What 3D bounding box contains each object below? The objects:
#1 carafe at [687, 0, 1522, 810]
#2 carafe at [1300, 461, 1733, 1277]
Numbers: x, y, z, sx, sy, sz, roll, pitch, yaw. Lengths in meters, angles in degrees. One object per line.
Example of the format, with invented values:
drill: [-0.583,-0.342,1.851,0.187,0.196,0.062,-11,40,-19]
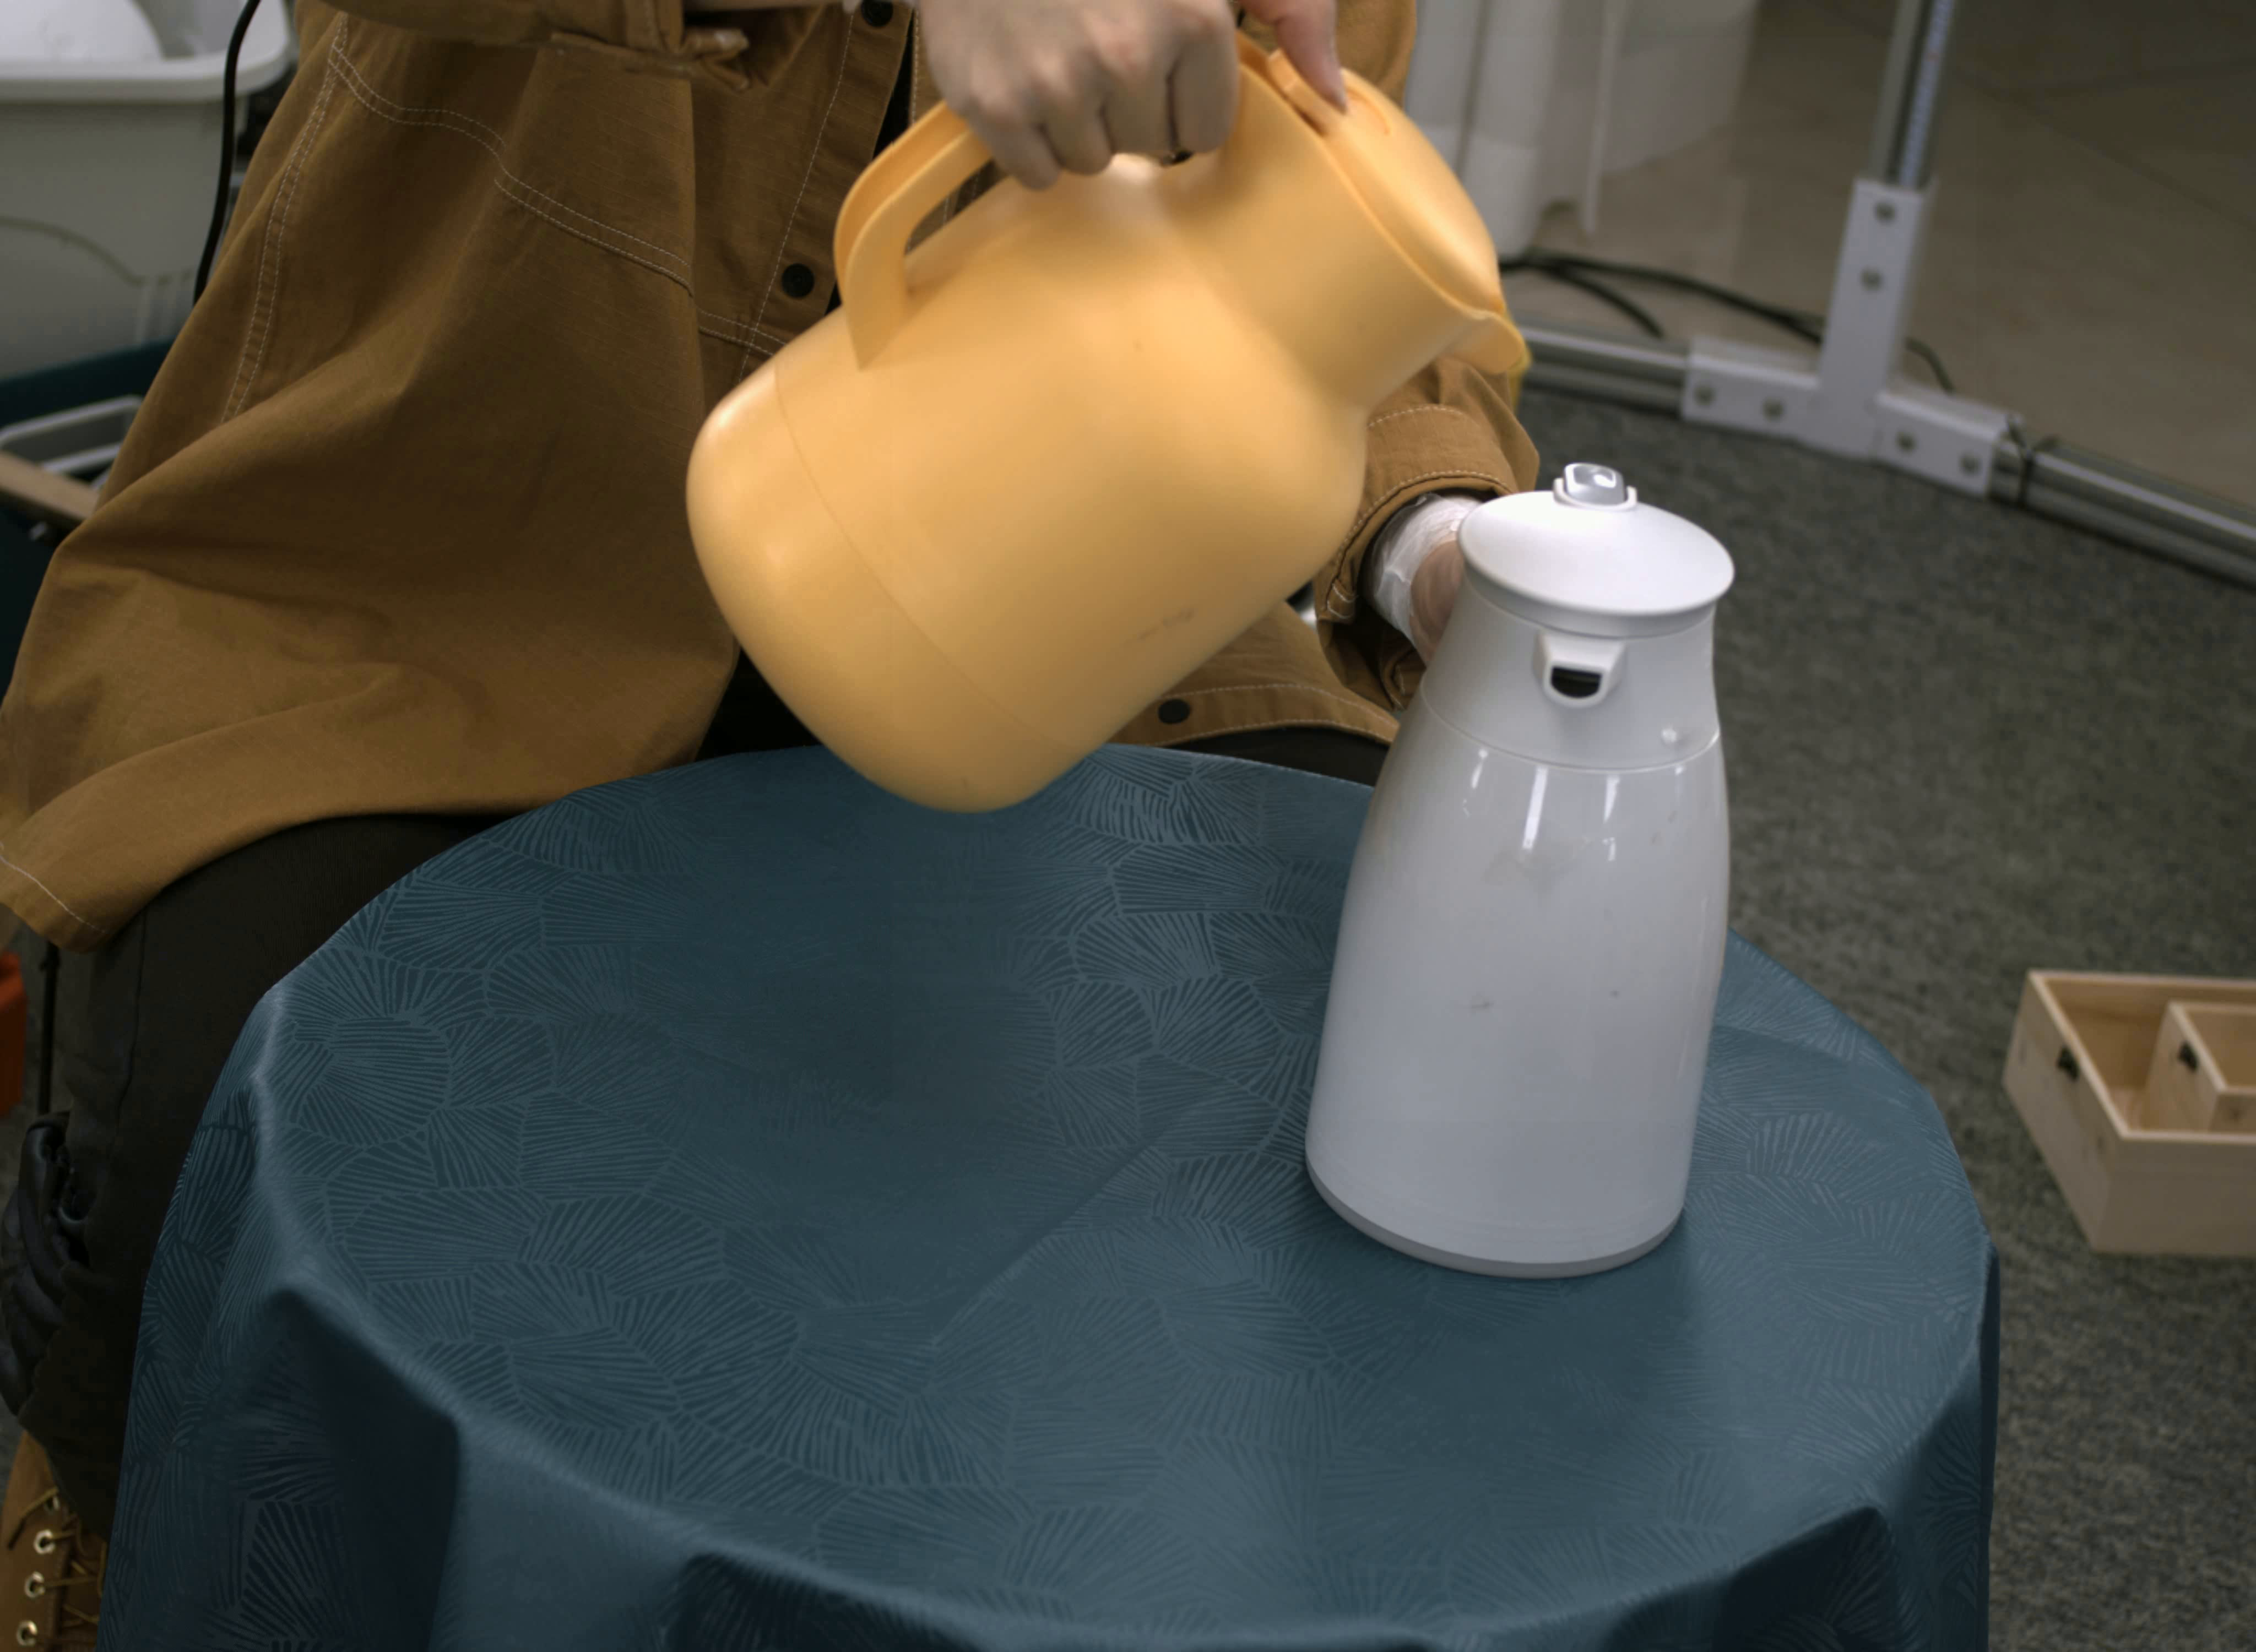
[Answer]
carafe: [-0.017,-0.143,1.682,0.200,0.260,0.165,41,20,-33]
carafe: [0.139,0.003,1.800,0.132,0.248,0.168,8,26,3]
